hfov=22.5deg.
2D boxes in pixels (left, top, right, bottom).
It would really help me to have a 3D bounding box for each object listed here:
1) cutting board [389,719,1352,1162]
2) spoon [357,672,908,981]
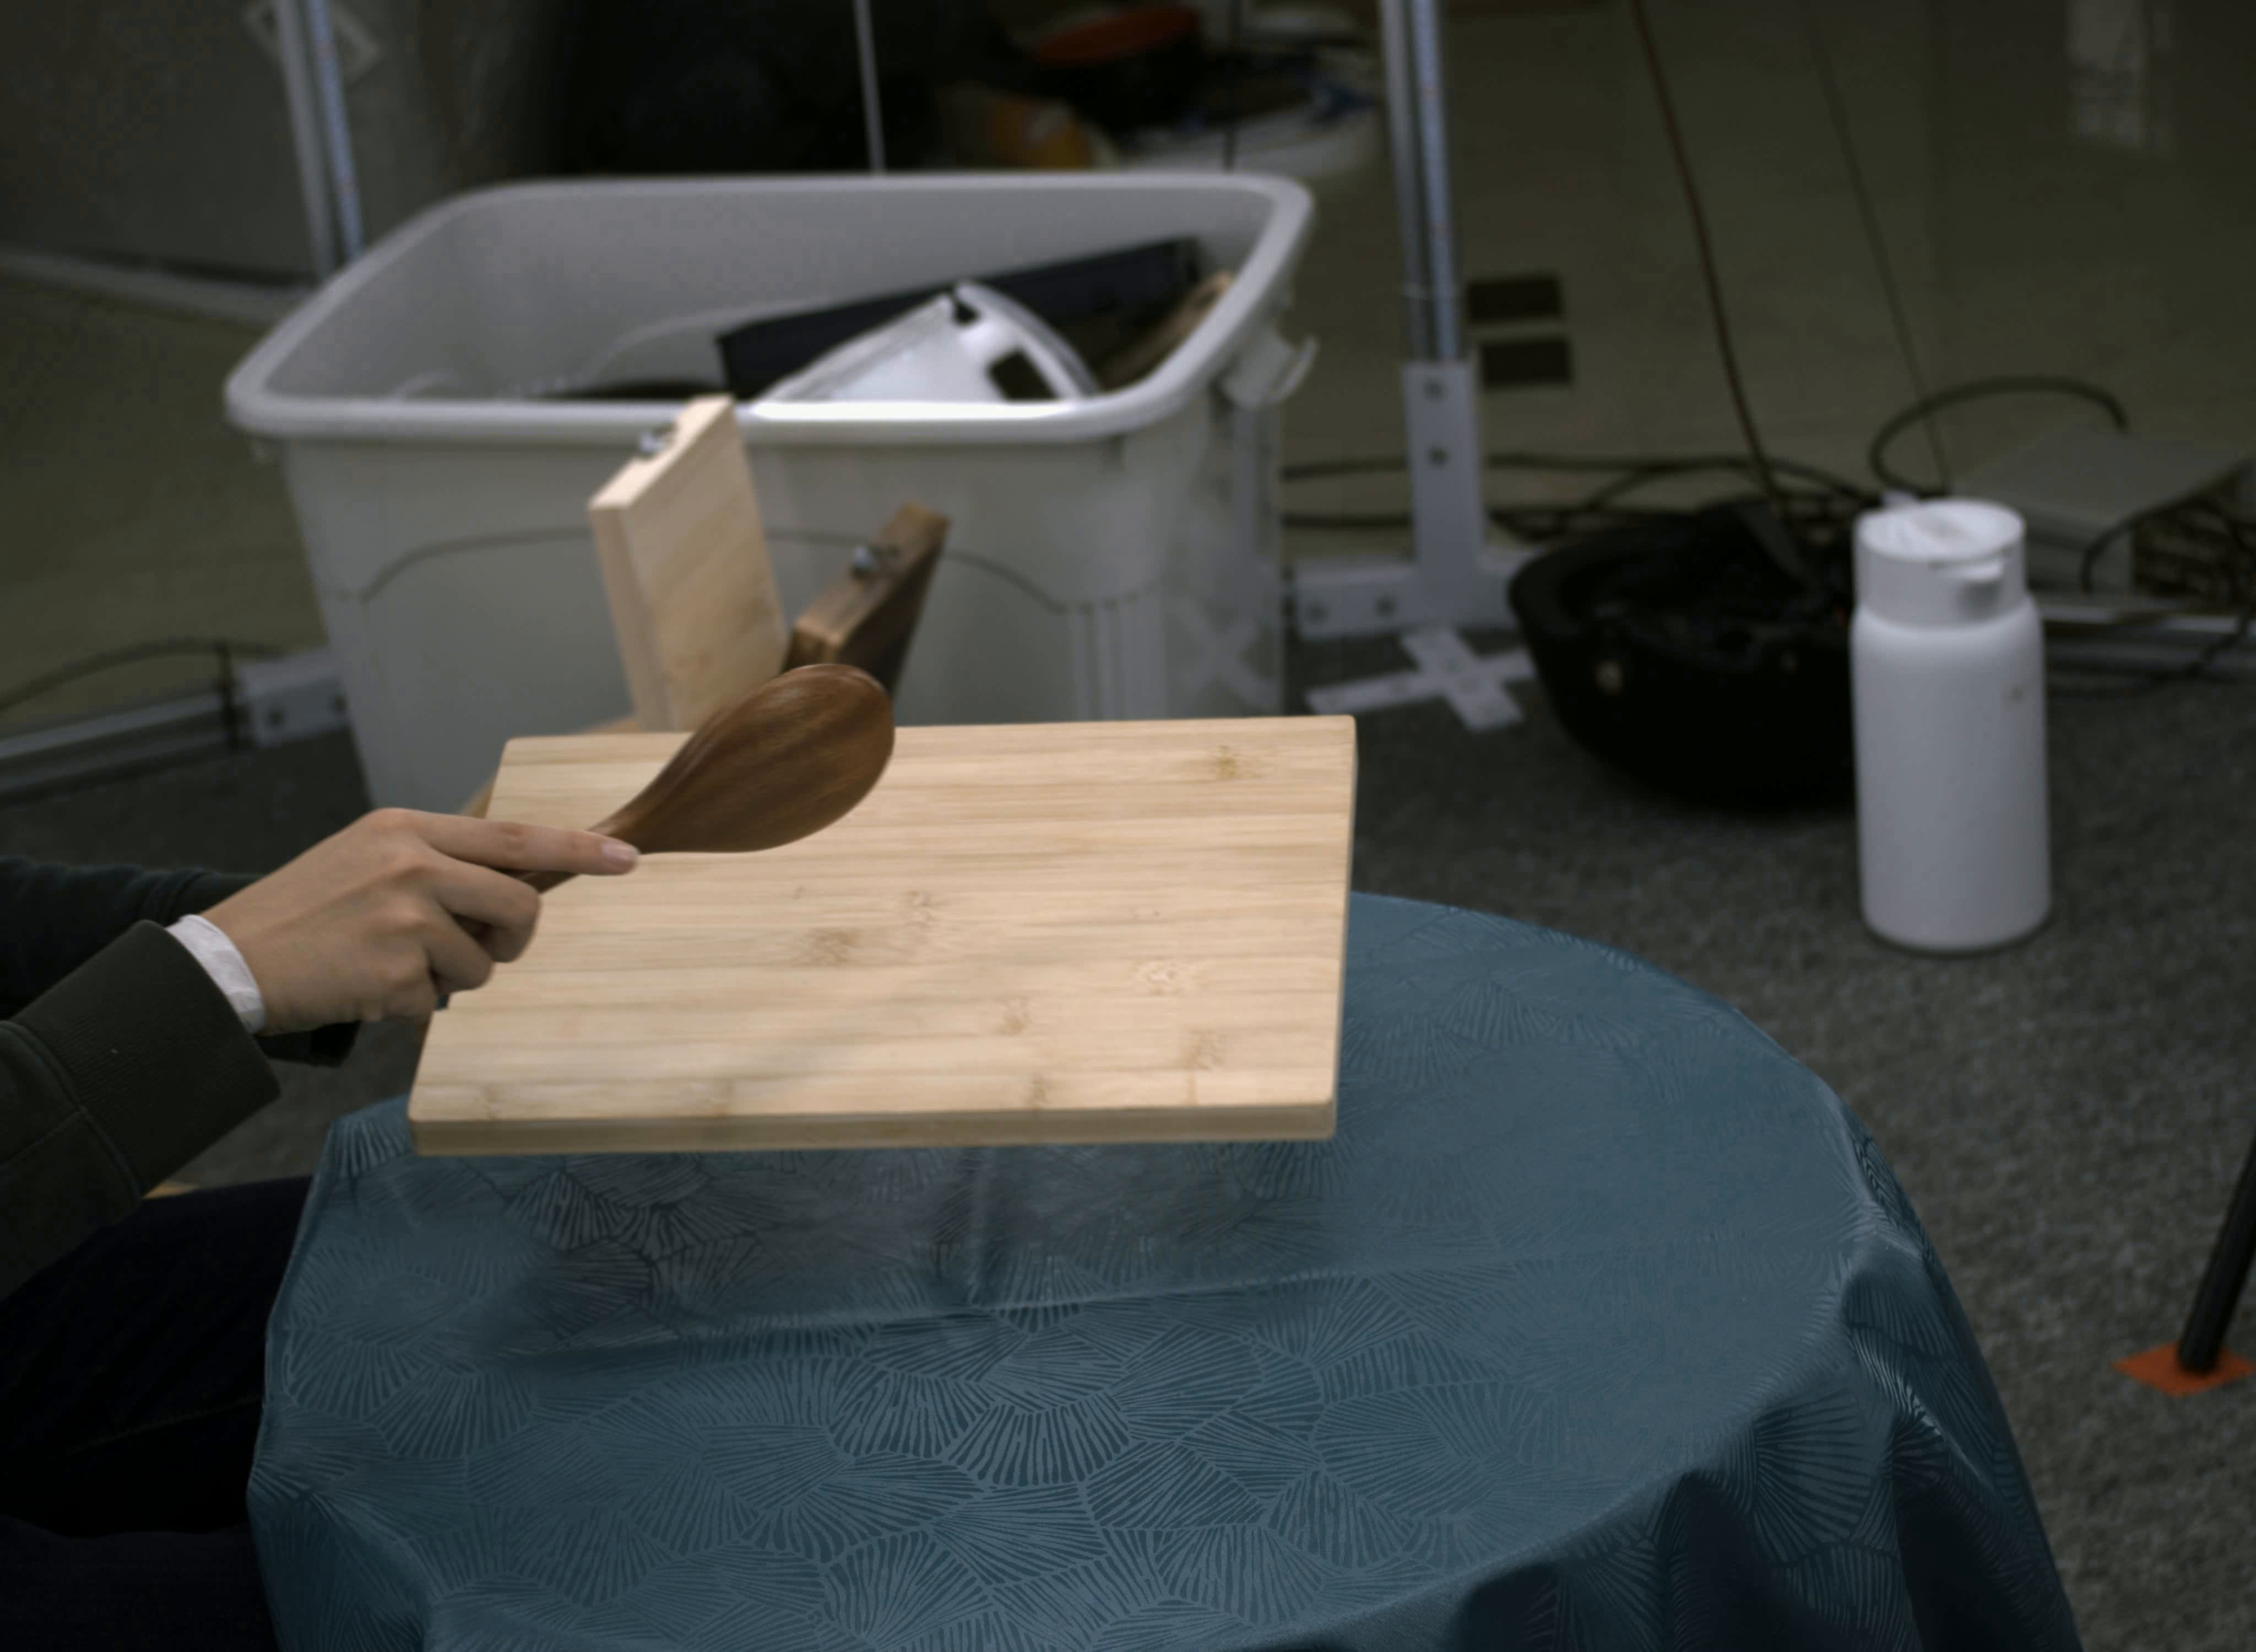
[{"bbox_3d":[-0.091,0.041,2.152,0.348,0.024,0.246,-2,38,5],"label":"cutting board"},{"bbox_3d":[-0.173,0.004,2.011,0.215,0.077,0.017,-24,51,-14],"label":"spoon"}]
